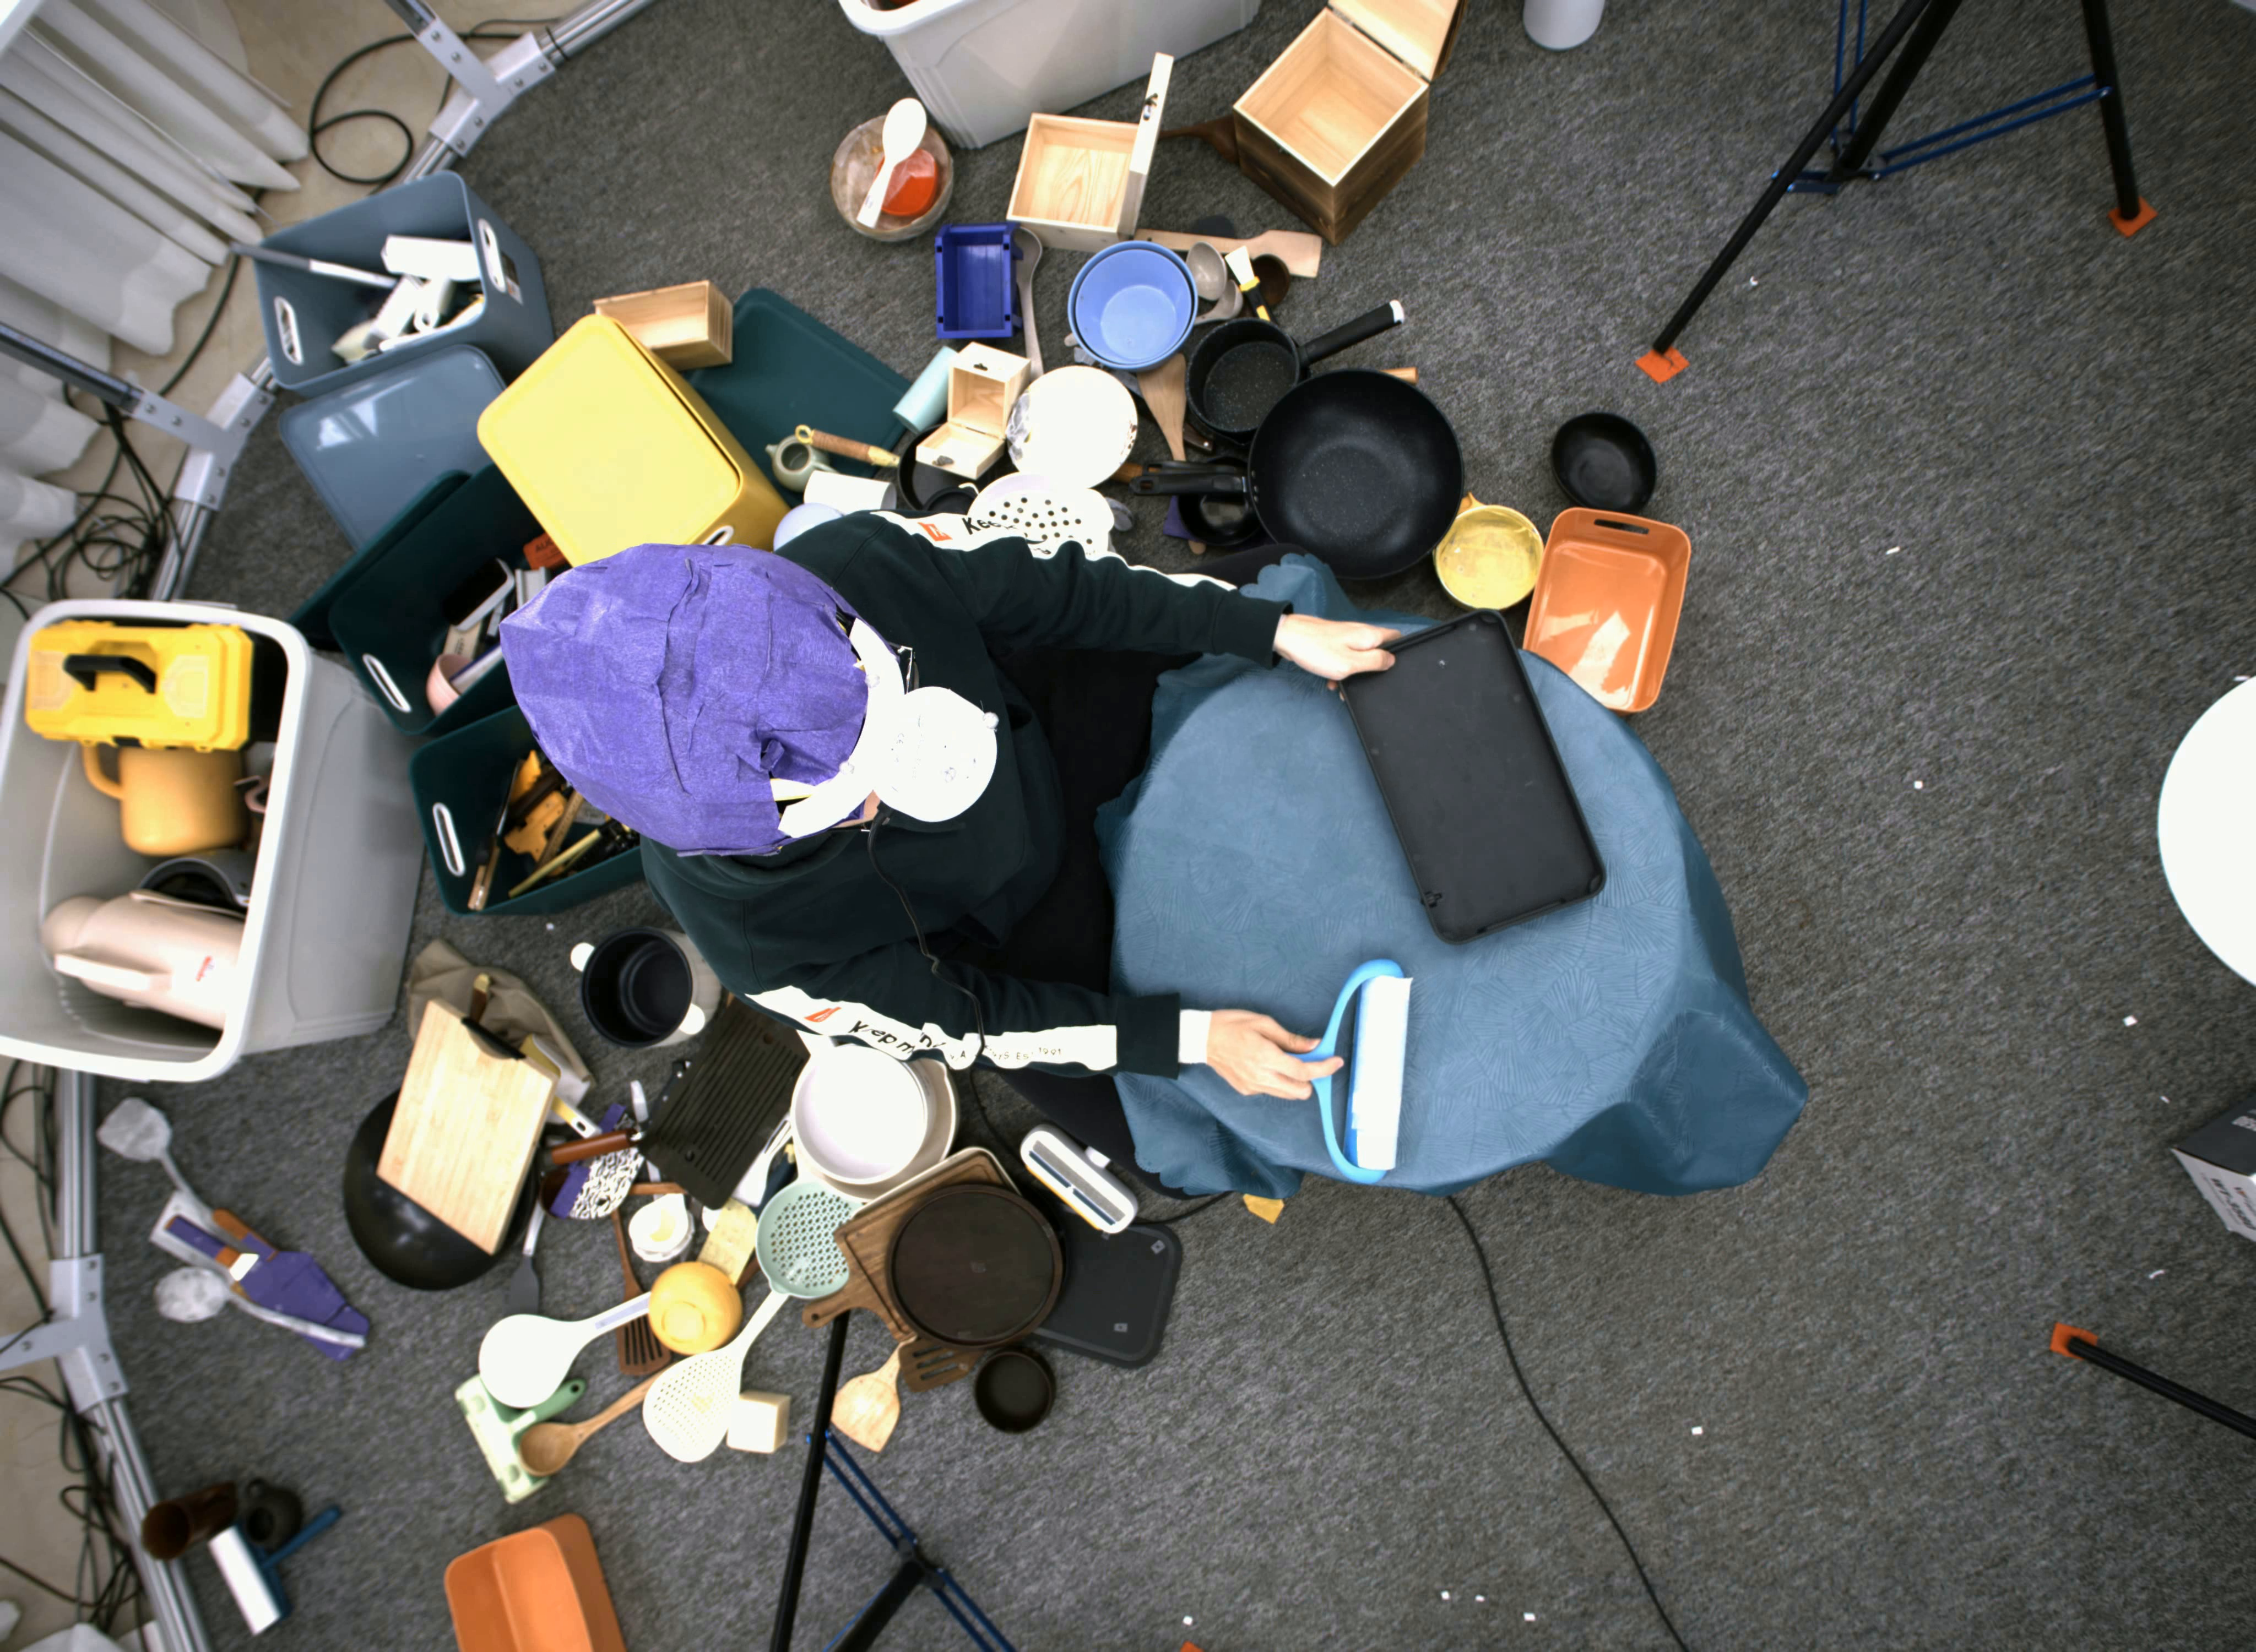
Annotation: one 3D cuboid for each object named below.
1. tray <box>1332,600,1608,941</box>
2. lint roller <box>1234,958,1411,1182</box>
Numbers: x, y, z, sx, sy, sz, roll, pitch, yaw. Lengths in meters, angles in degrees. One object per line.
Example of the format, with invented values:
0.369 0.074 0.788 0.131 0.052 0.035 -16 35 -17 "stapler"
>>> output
0.349 -0.059 1.412 0.185 0.037 0.317 -22 88 8 "tray"
0.197 0.246 1.430 0.181 0.068 0.228 2 89 9 "lint roller"
